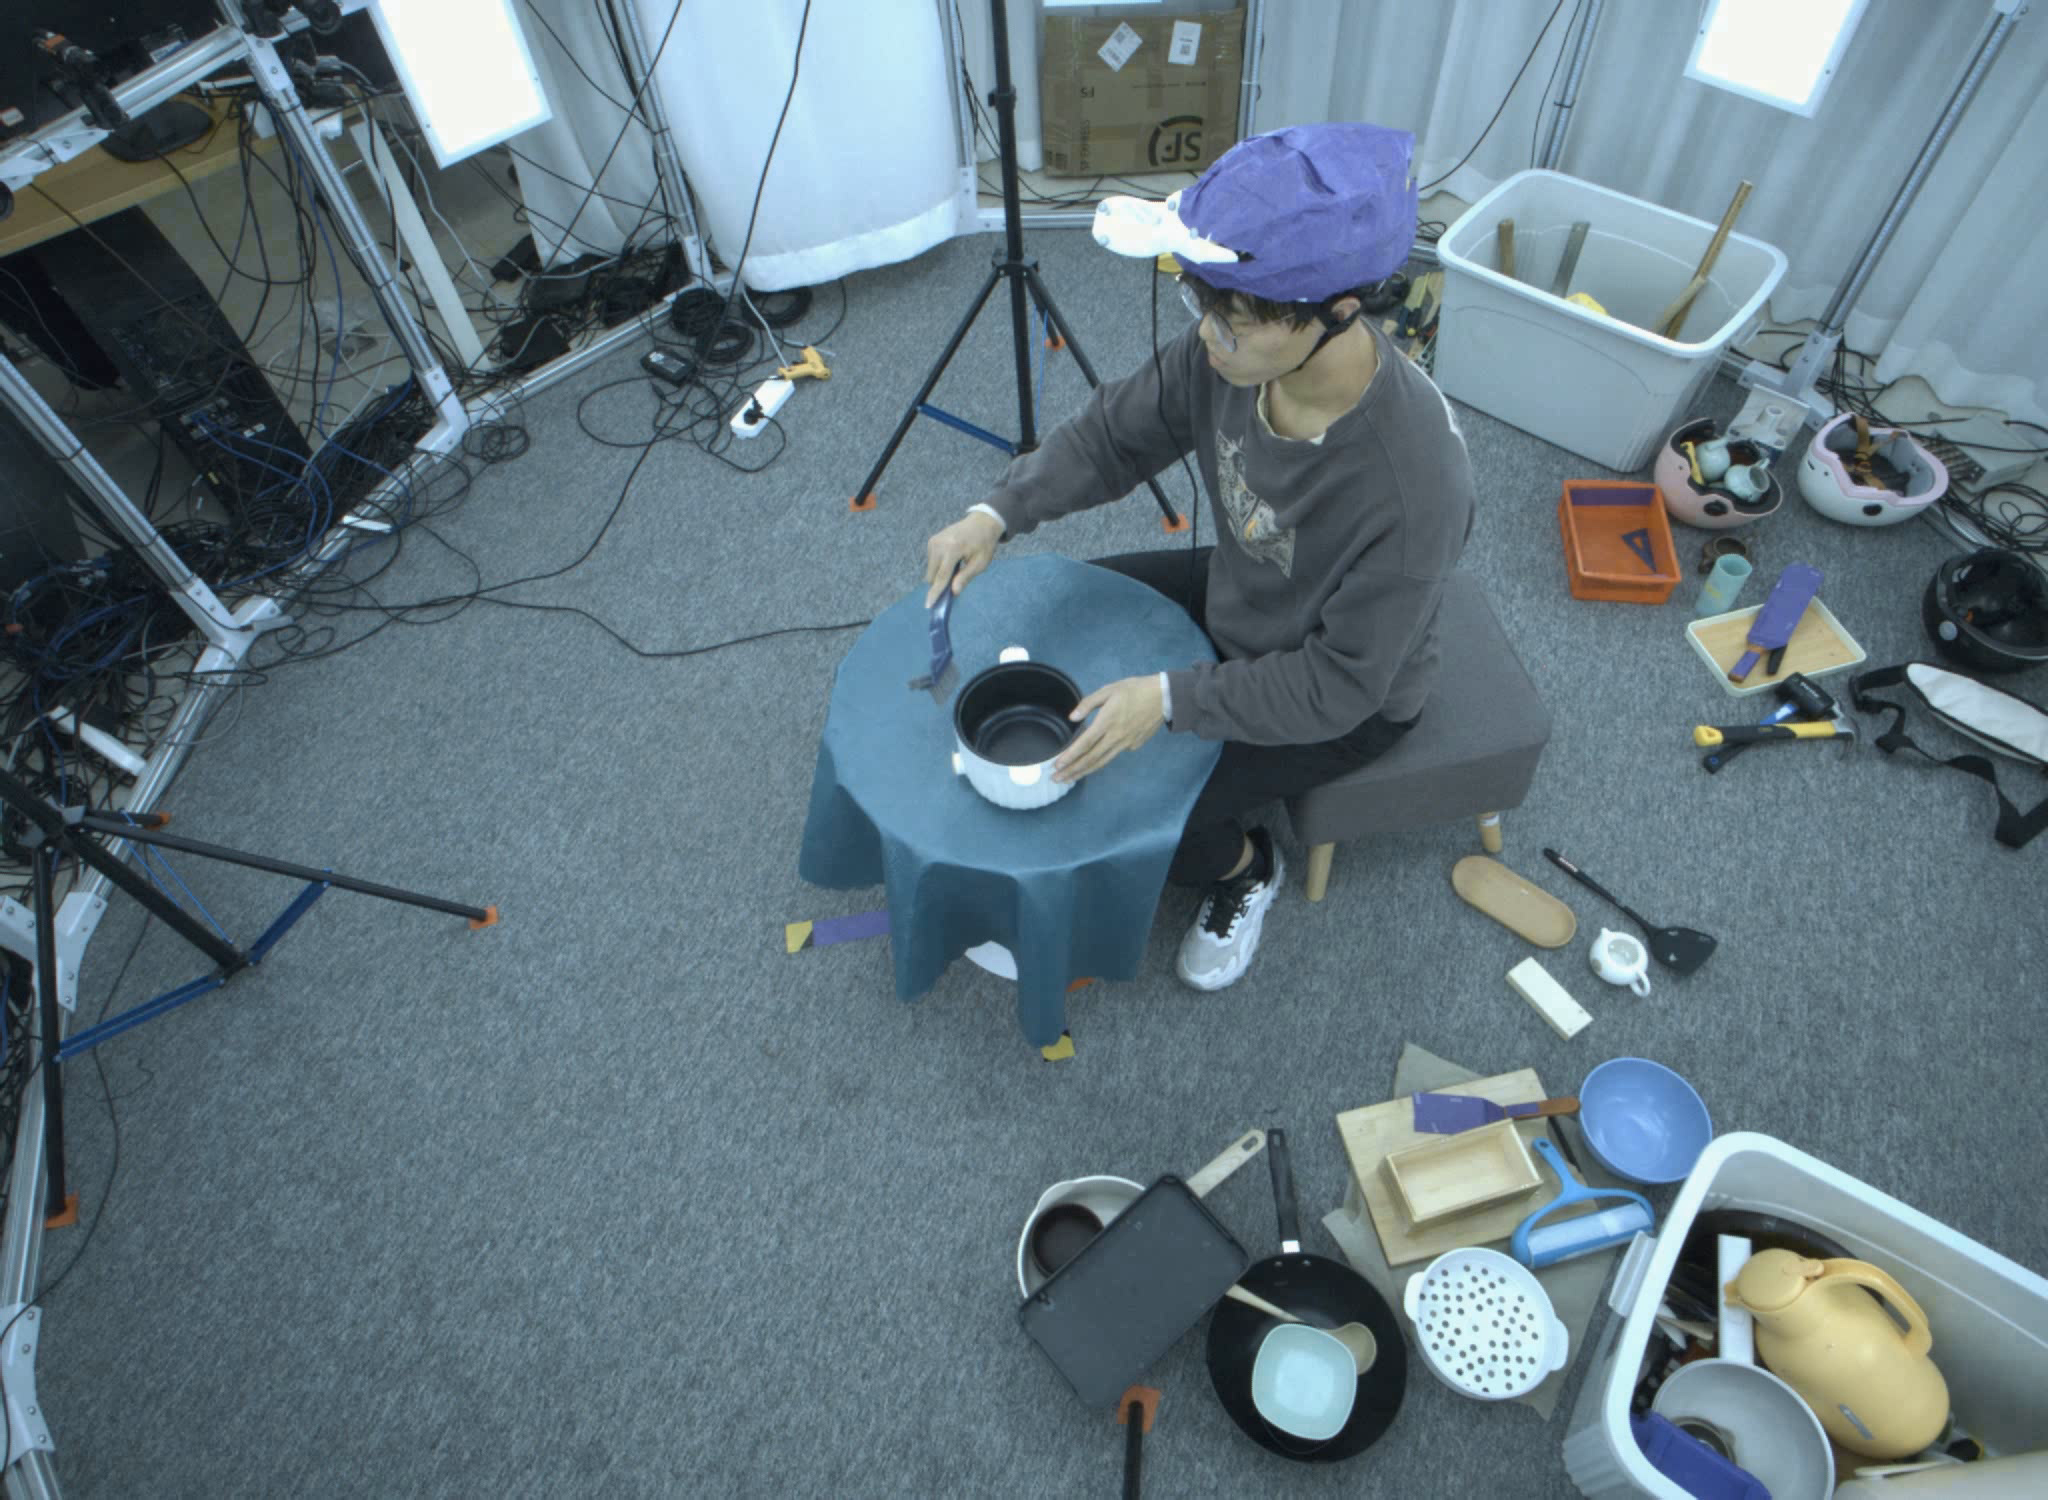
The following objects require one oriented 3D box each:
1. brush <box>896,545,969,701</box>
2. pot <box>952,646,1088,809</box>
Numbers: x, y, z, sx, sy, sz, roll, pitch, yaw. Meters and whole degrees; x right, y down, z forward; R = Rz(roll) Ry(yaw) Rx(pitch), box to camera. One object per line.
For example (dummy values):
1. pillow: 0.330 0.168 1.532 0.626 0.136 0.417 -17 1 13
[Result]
1. brush: -0.117 -0.185 1.647 0.033 0.098 0.271 -20 51 32
2. pot: -0.007 -0.012 1.707 0.191 0.144 0.237 -4 53 -4
